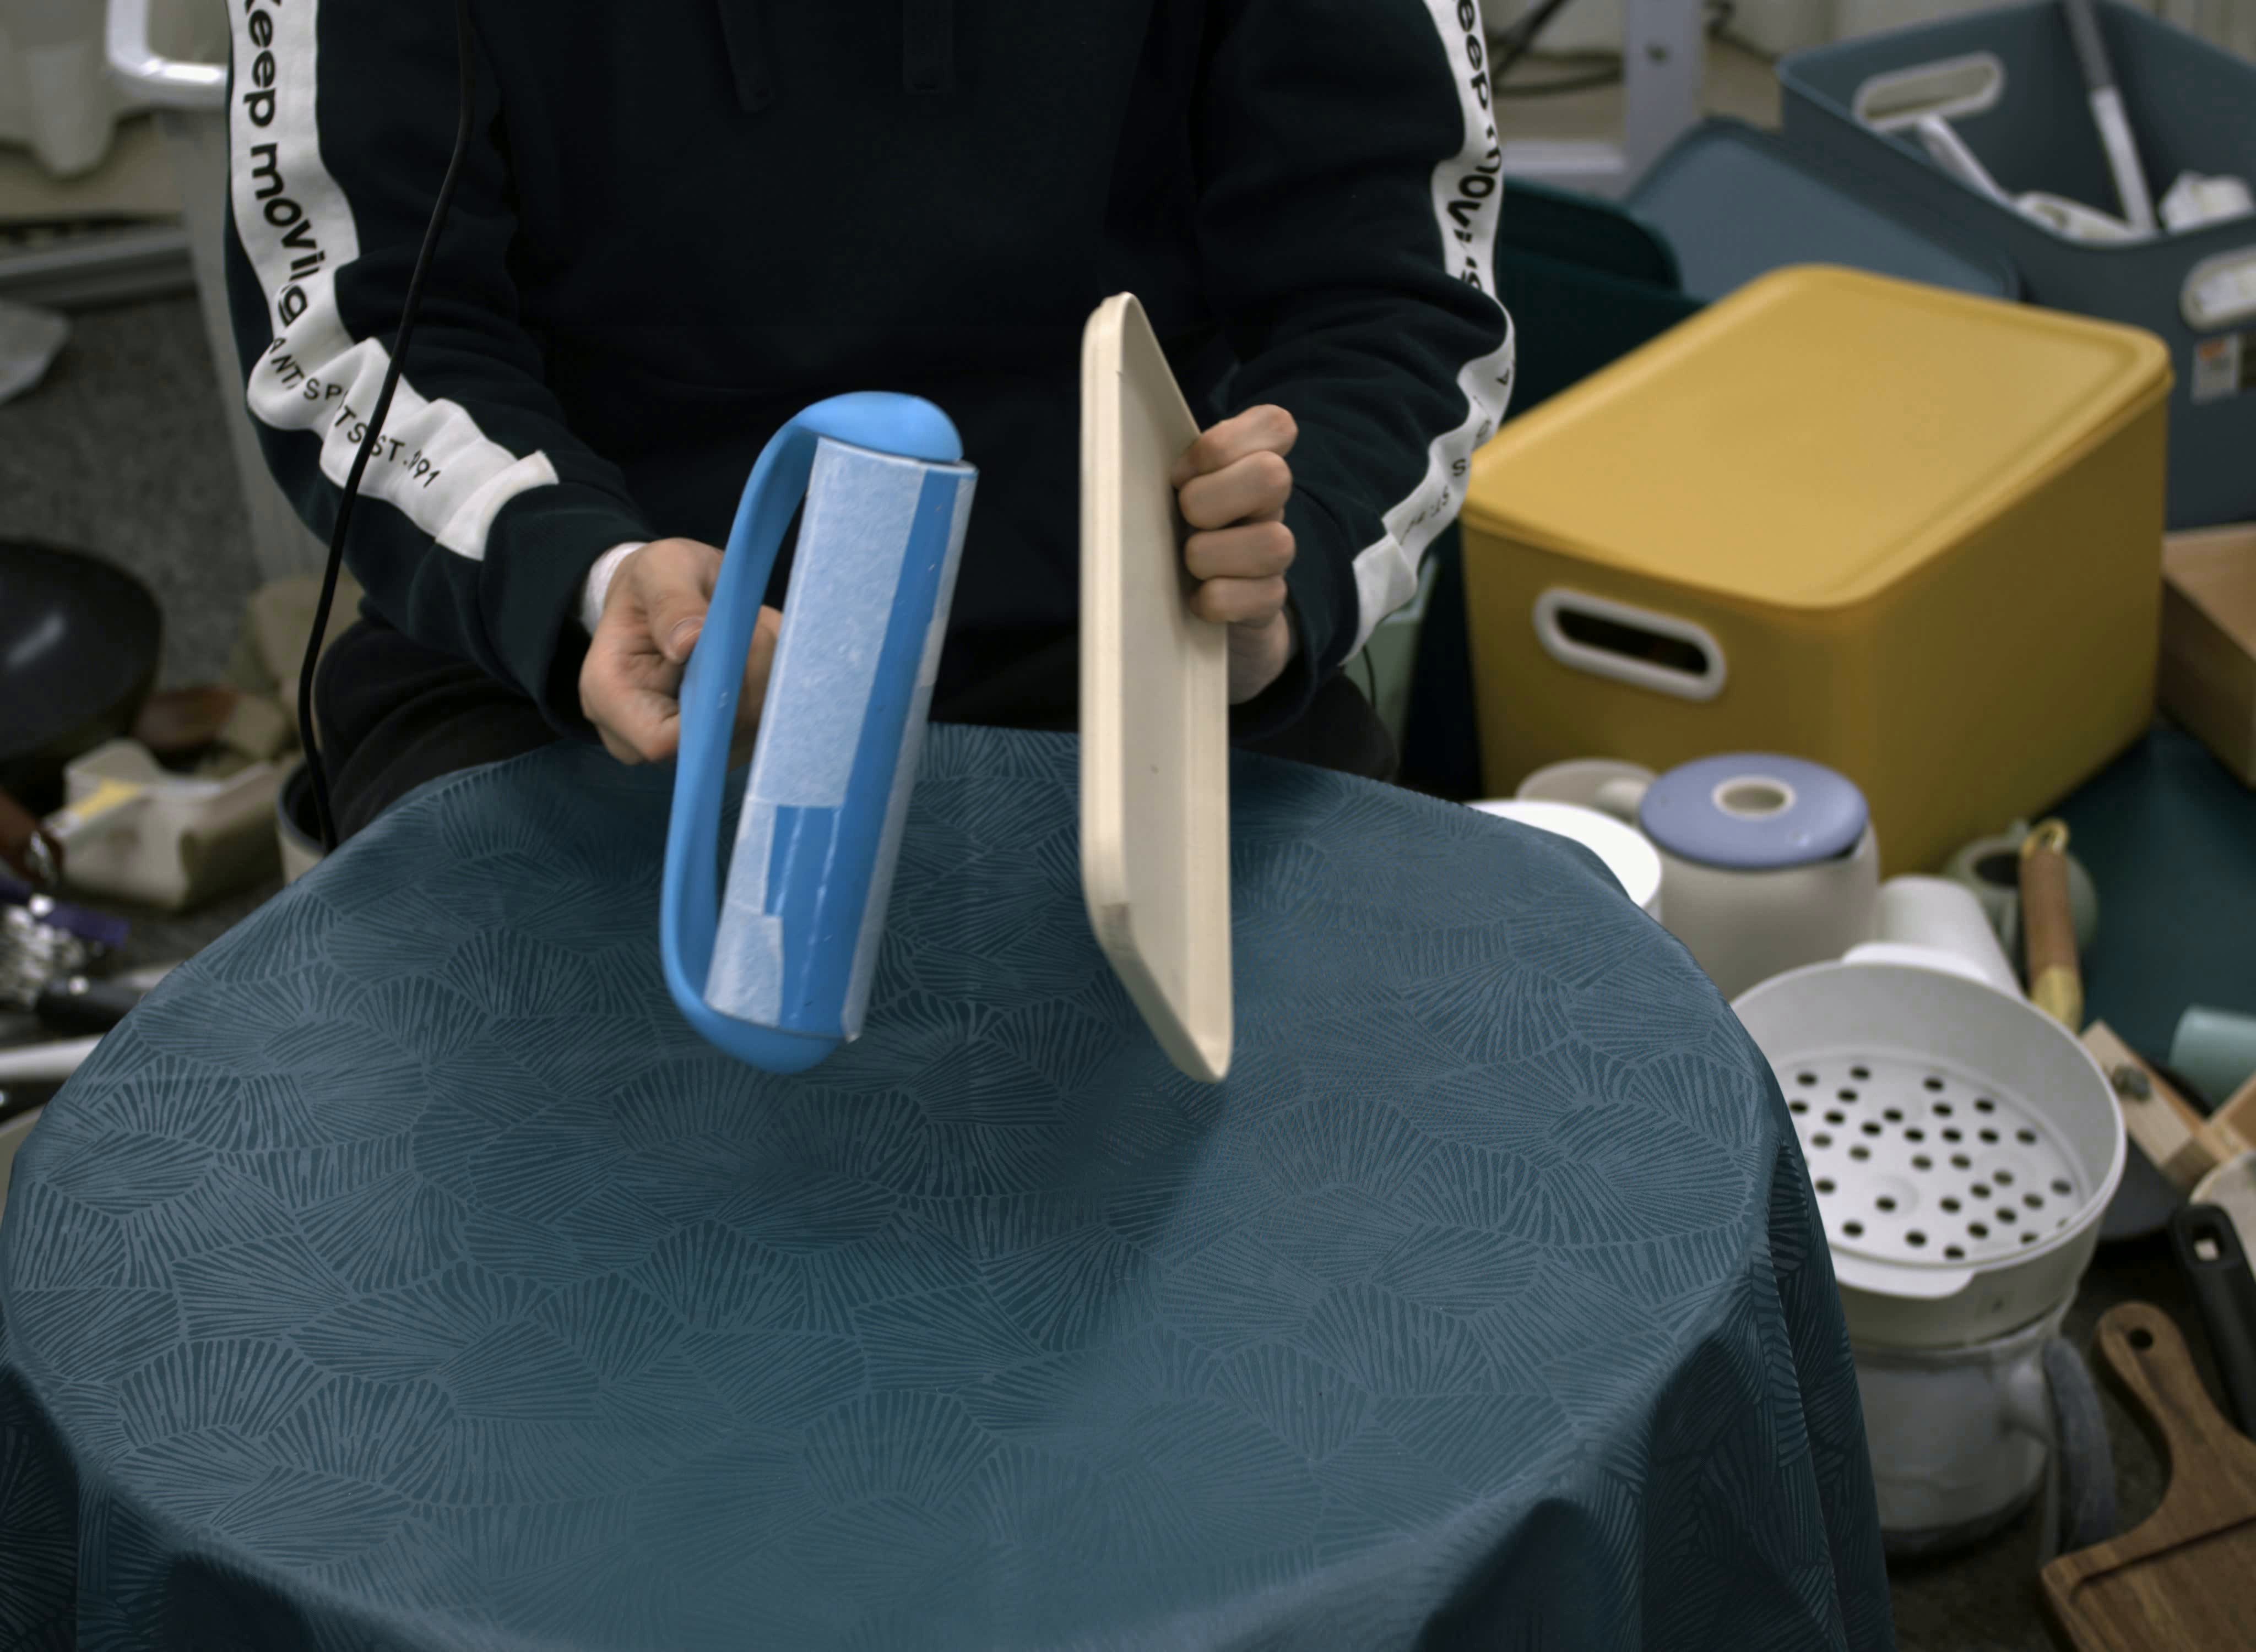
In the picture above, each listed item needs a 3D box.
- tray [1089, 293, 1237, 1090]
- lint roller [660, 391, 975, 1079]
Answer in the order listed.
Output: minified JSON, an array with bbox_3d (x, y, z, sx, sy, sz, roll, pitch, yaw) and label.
[{"bbox_3d":[0.011,-0.043,1.879,0.017,0.169,0.244,-6,64,11],"label":"tray"},{"bbox_3d":[-0.120,-0.039,1.899,0.068,0.229,0.180,8,4,-25],"label":"lint roller"}]
